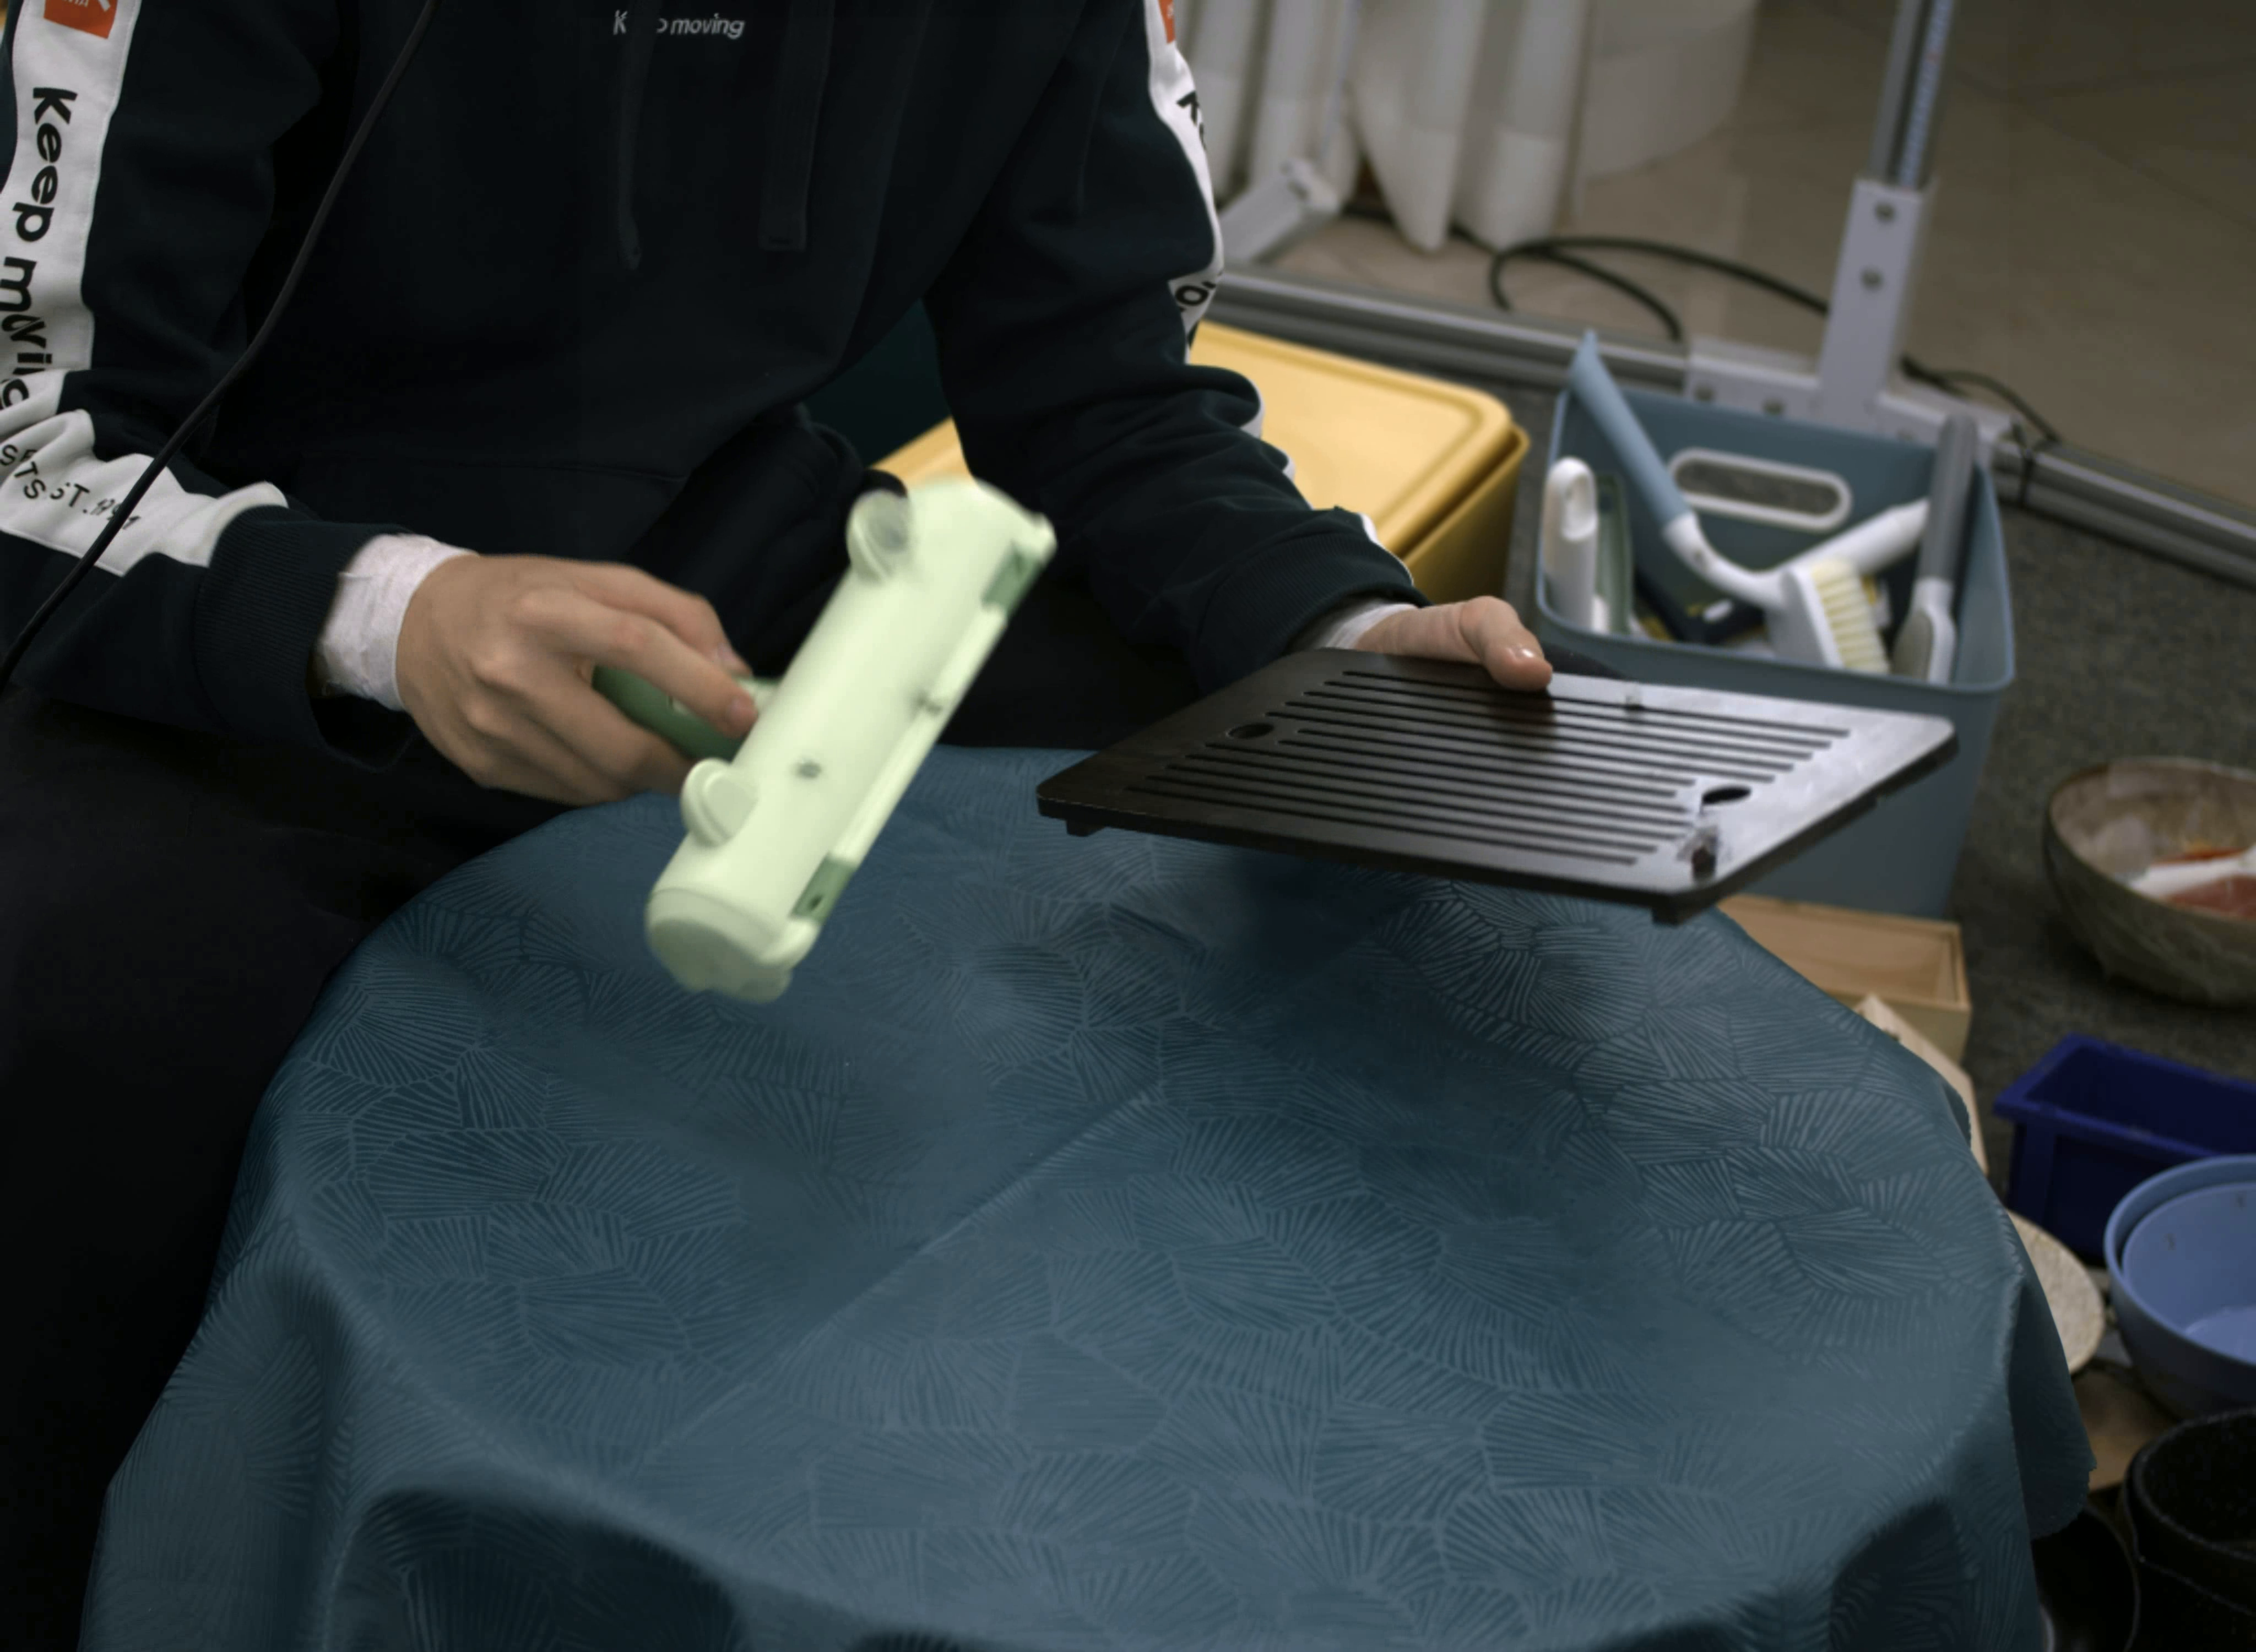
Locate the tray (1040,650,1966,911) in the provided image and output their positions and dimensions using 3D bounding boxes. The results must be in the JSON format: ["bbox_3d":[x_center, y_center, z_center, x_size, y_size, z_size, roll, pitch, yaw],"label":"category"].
[{"bbox_3d":[0.130,-0.019,1.897,0.307,0.018,0.169,7,25,42],"label":"tray"}]

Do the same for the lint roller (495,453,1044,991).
[{"bbox_3d":[-0.144,-0.051,1.781,0.184,0.081,0.199,13,59,25],"label":"lint roller"}]
